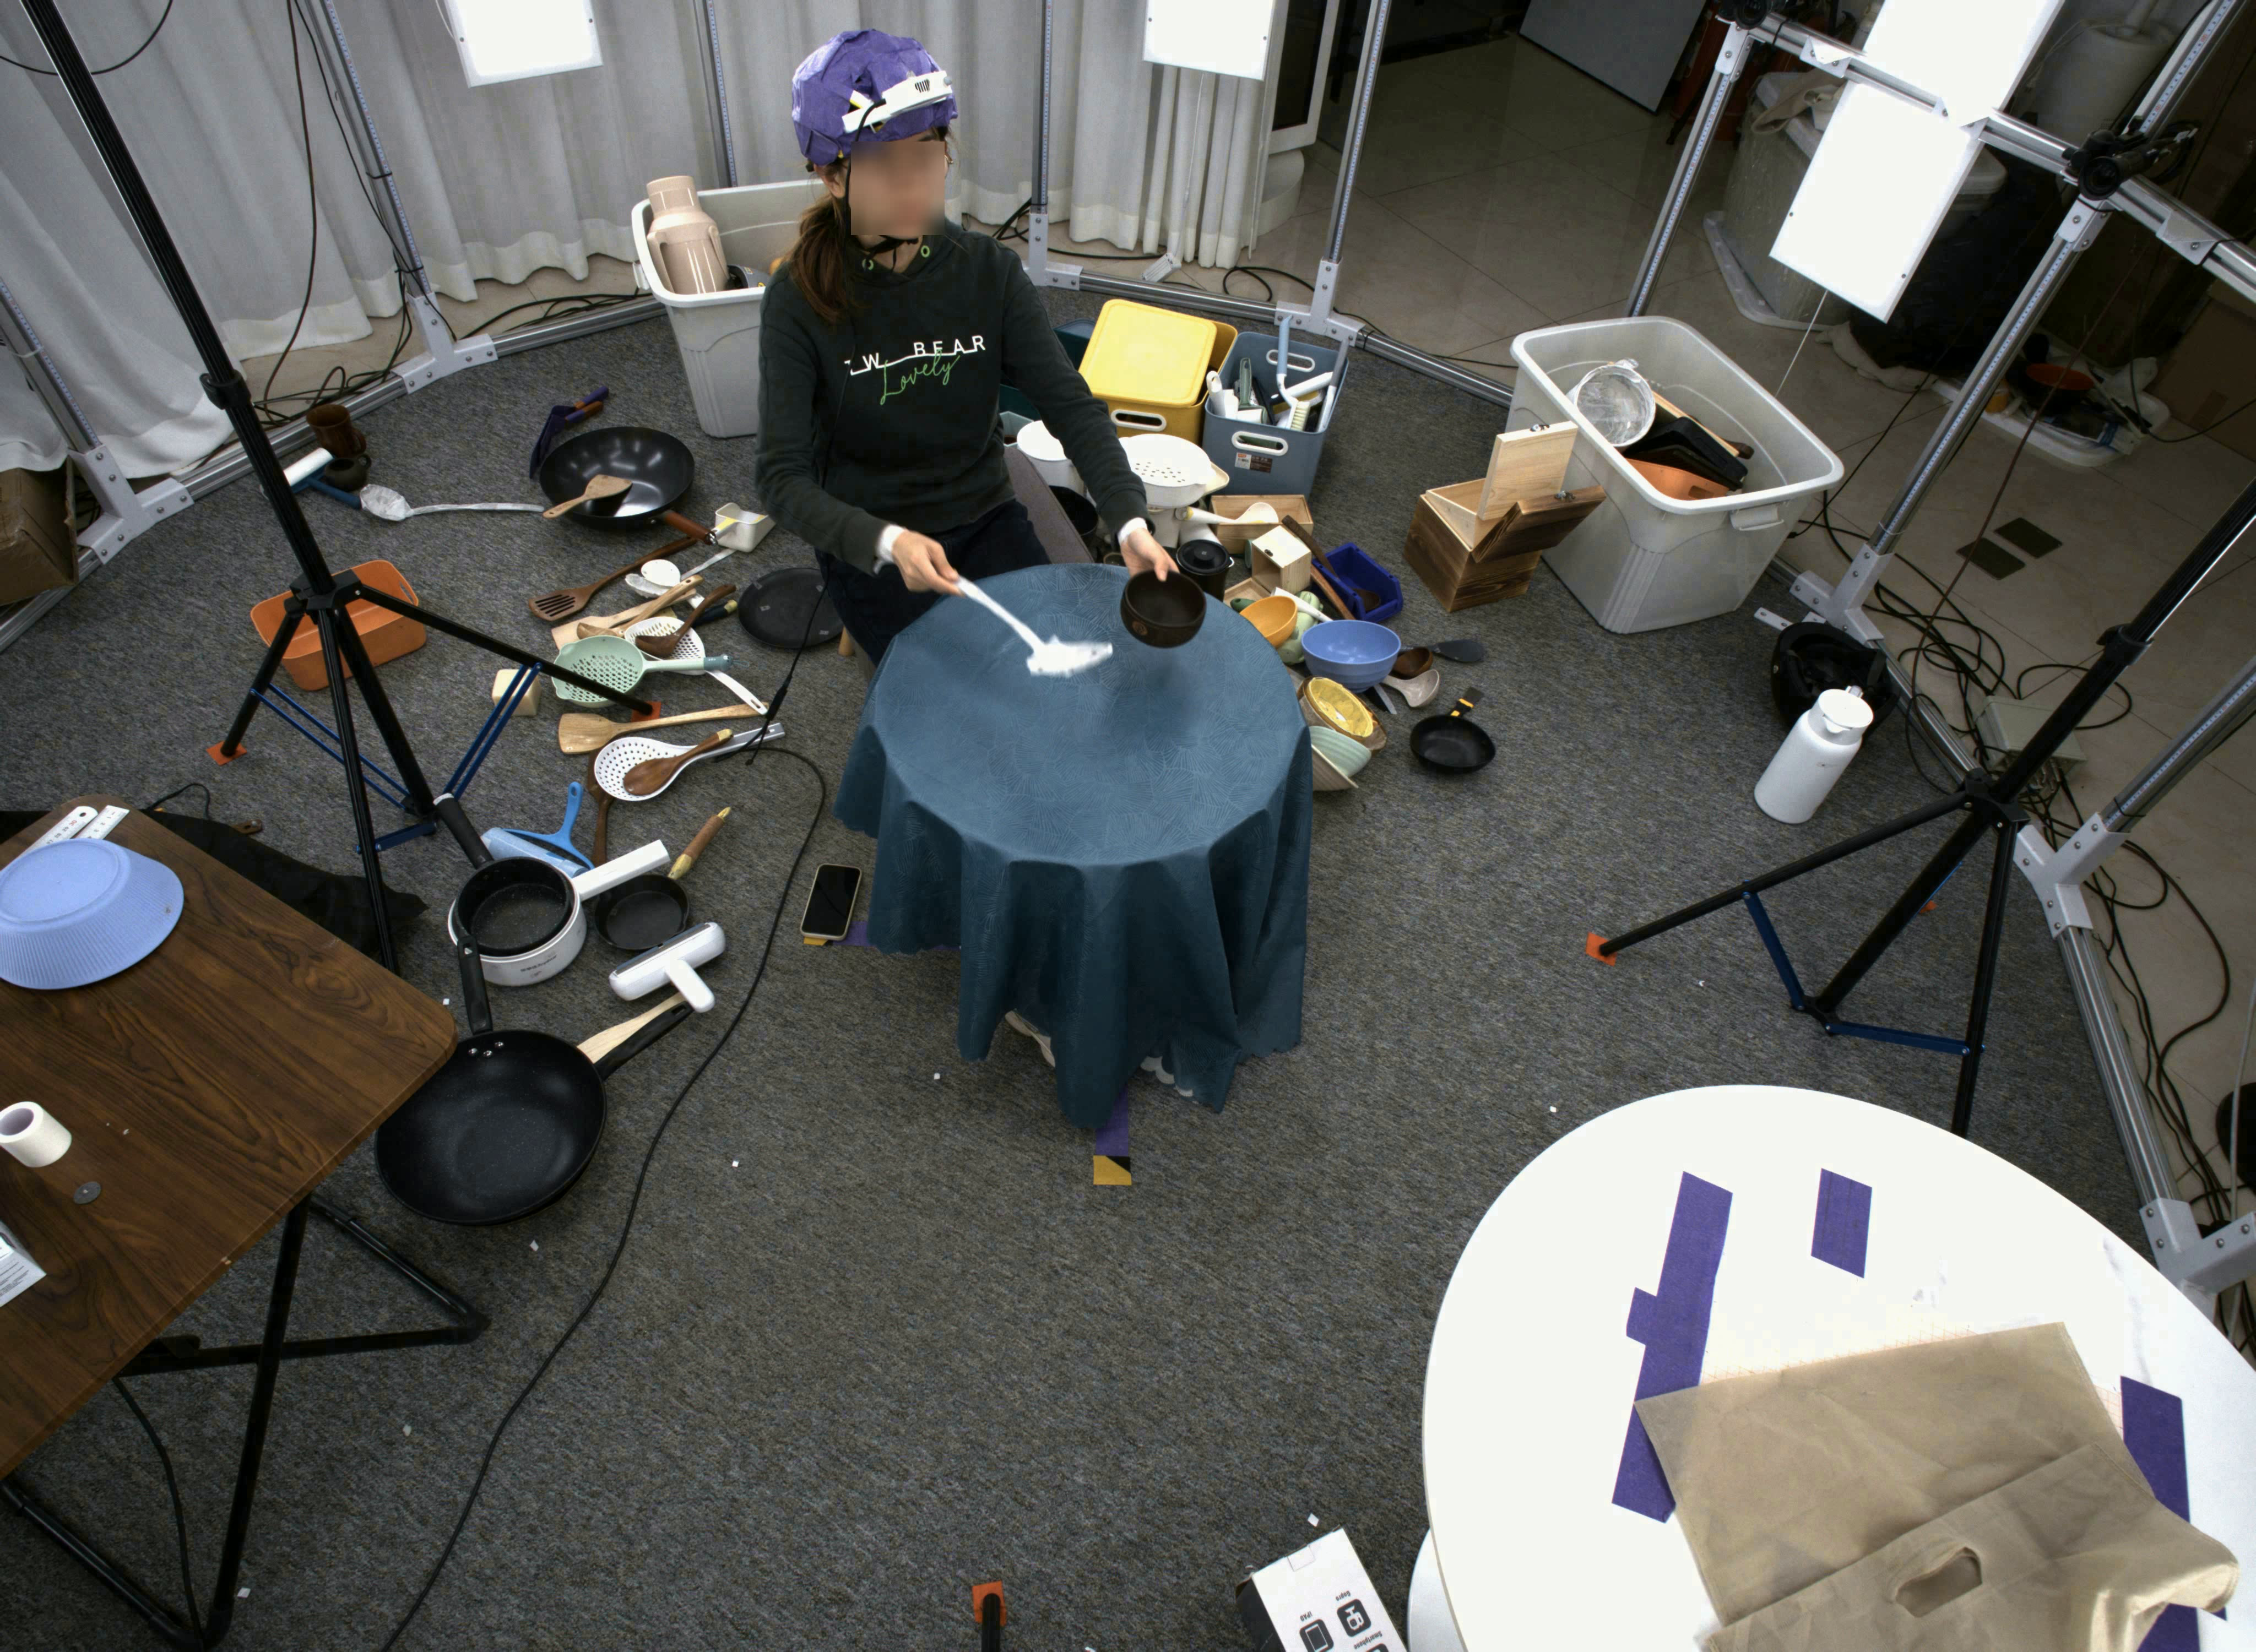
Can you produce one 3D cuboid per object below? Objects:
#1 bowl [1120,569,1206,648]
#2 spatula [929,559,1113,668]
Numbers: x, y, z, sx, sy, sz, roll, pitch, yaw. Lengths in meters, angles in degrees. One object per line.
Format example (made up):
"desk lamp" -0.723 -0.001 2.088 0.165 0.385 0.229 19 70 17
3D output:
"bowl" 0.046 -0.295 1.794 0.118 0.068 0.121 6 49 -7
"spatula" -0.163 -0.289 1.701 0.099 0.044 0.371 -28 50 -30
